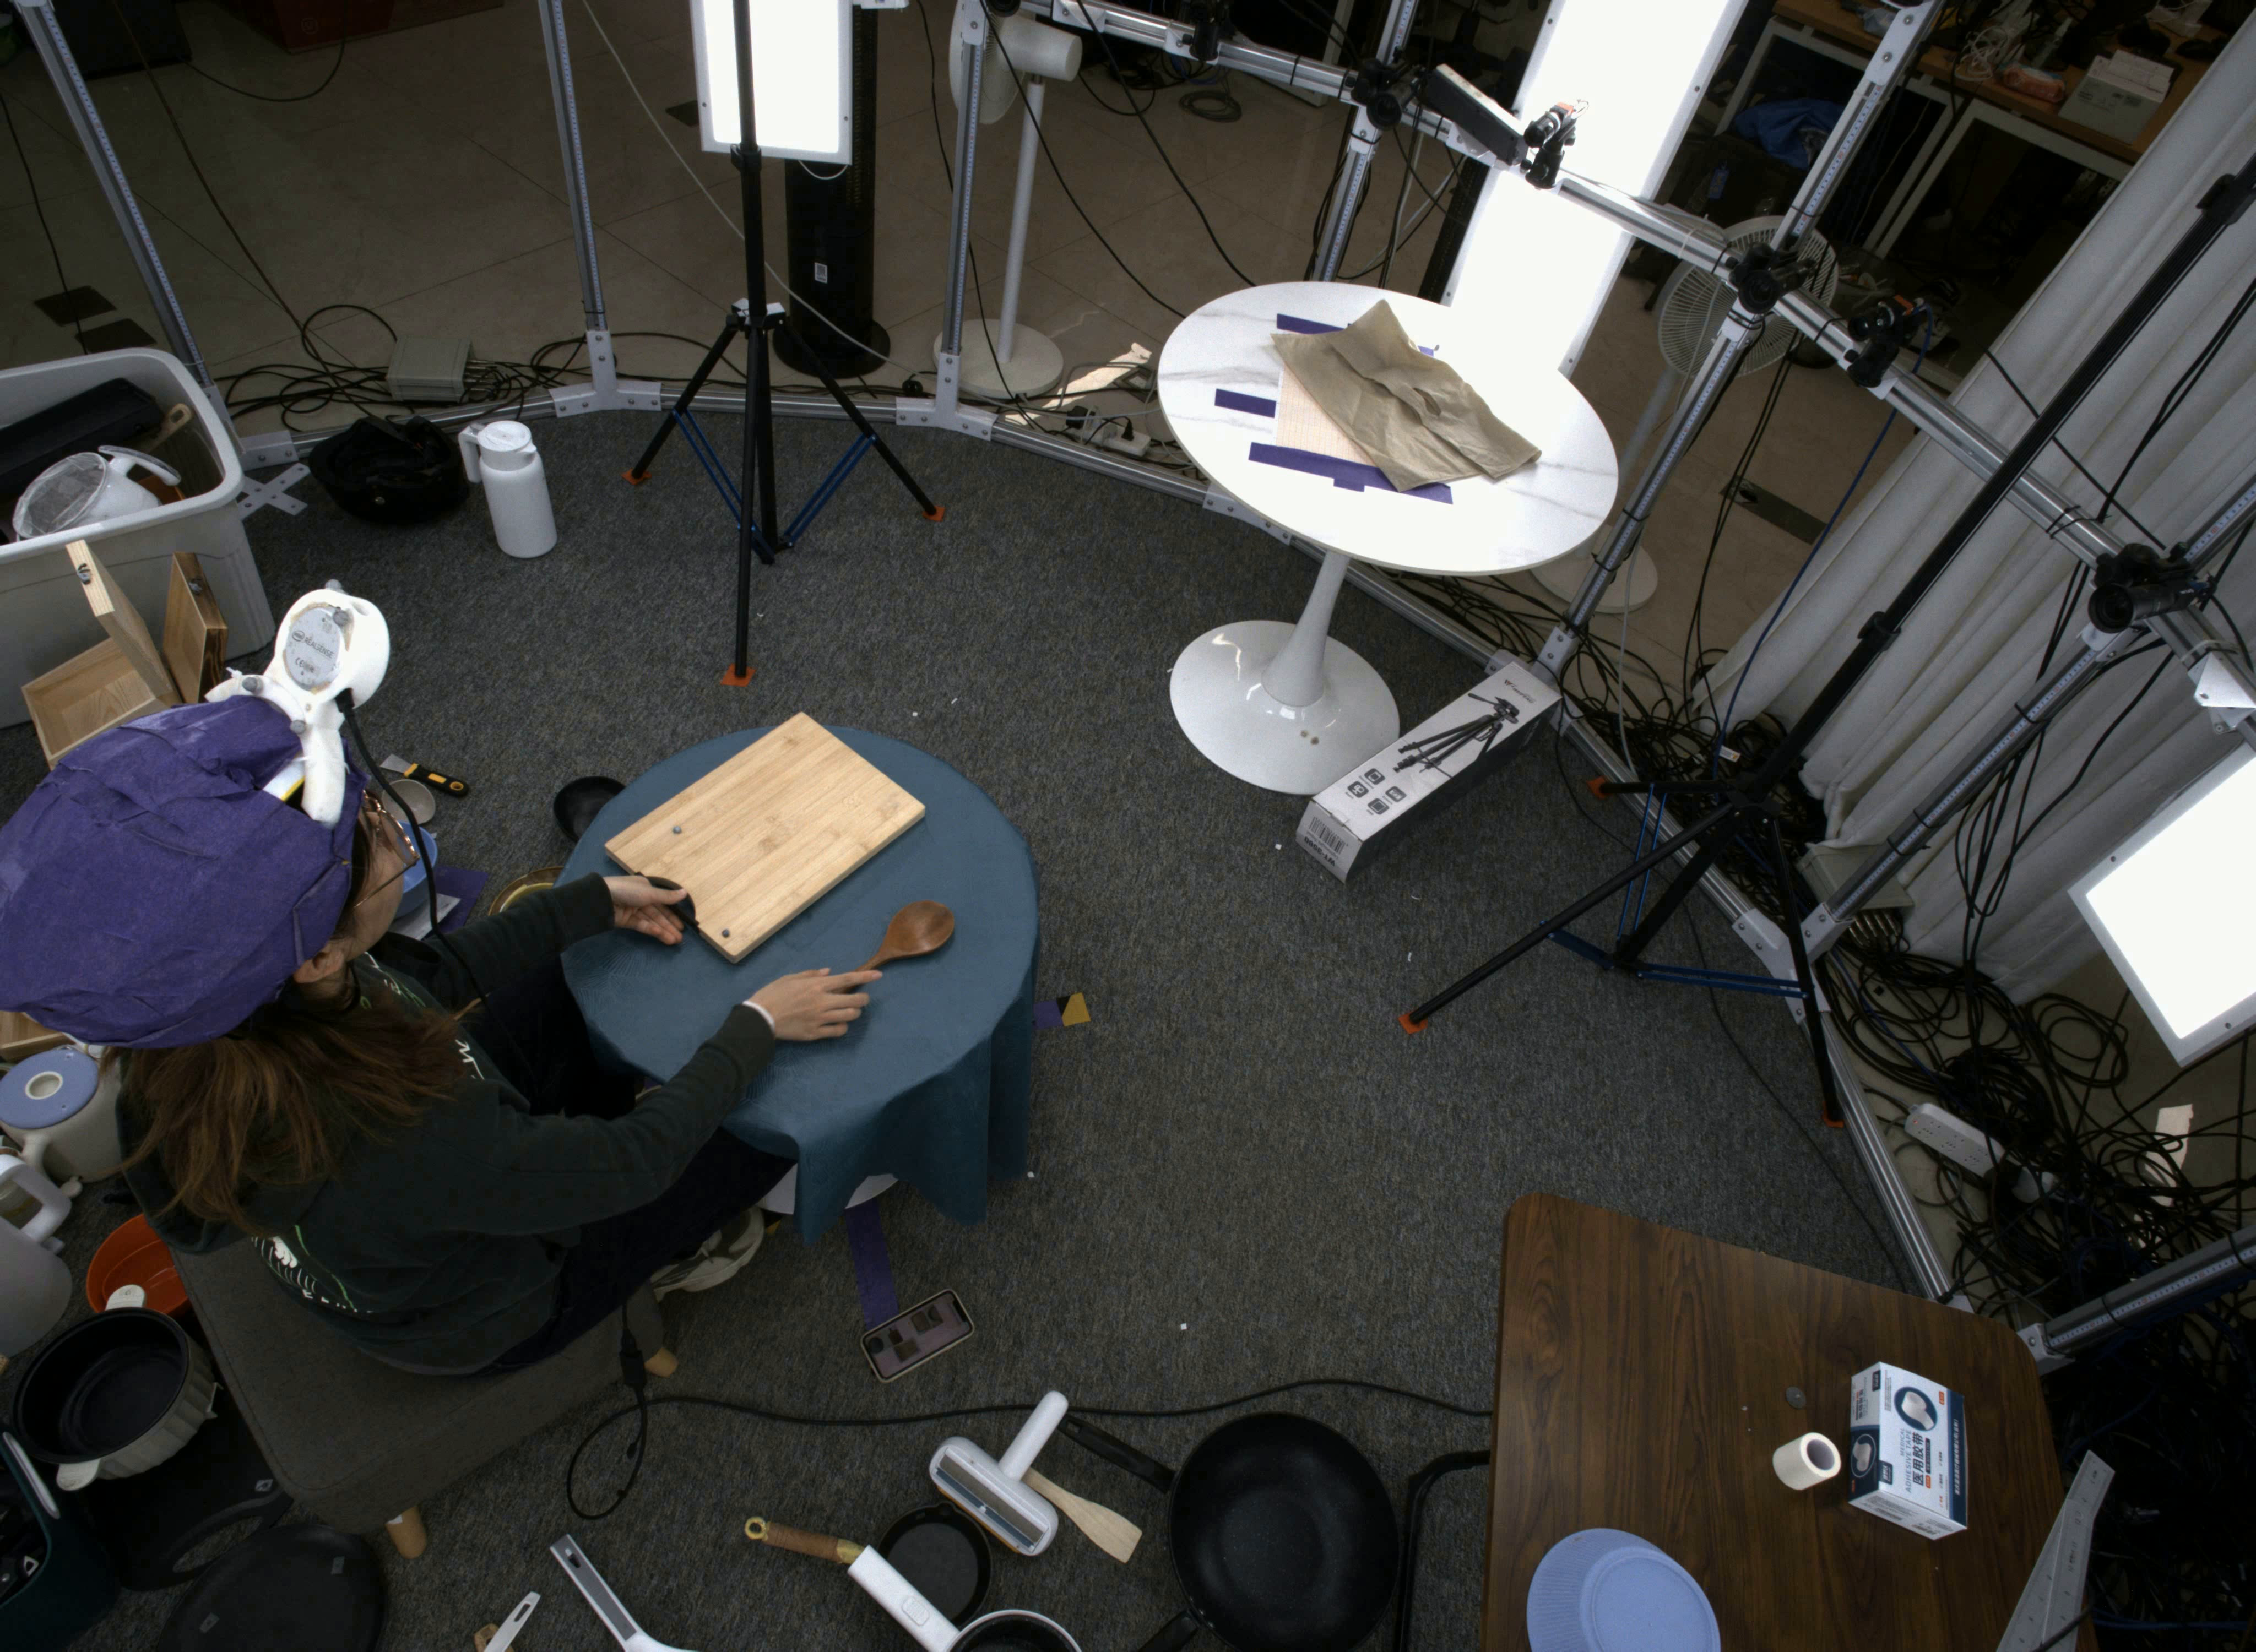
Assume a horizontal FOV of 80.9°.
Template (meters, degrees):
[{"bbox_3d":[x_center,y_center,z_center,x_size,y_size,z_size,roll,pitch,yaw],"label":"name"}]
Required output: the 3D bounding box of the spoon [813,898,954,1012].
[{"bbox_3d":[-0.307,0.161,1.628,0.074,0.017,0.216,42,54,15],"label":"spoon"}]

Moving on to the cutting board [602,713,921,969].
[{"bbox_3d":[-0.474,0.007,1.696,0.245,0.024,0.348,36,52,14],"label":"cutting board"}]
